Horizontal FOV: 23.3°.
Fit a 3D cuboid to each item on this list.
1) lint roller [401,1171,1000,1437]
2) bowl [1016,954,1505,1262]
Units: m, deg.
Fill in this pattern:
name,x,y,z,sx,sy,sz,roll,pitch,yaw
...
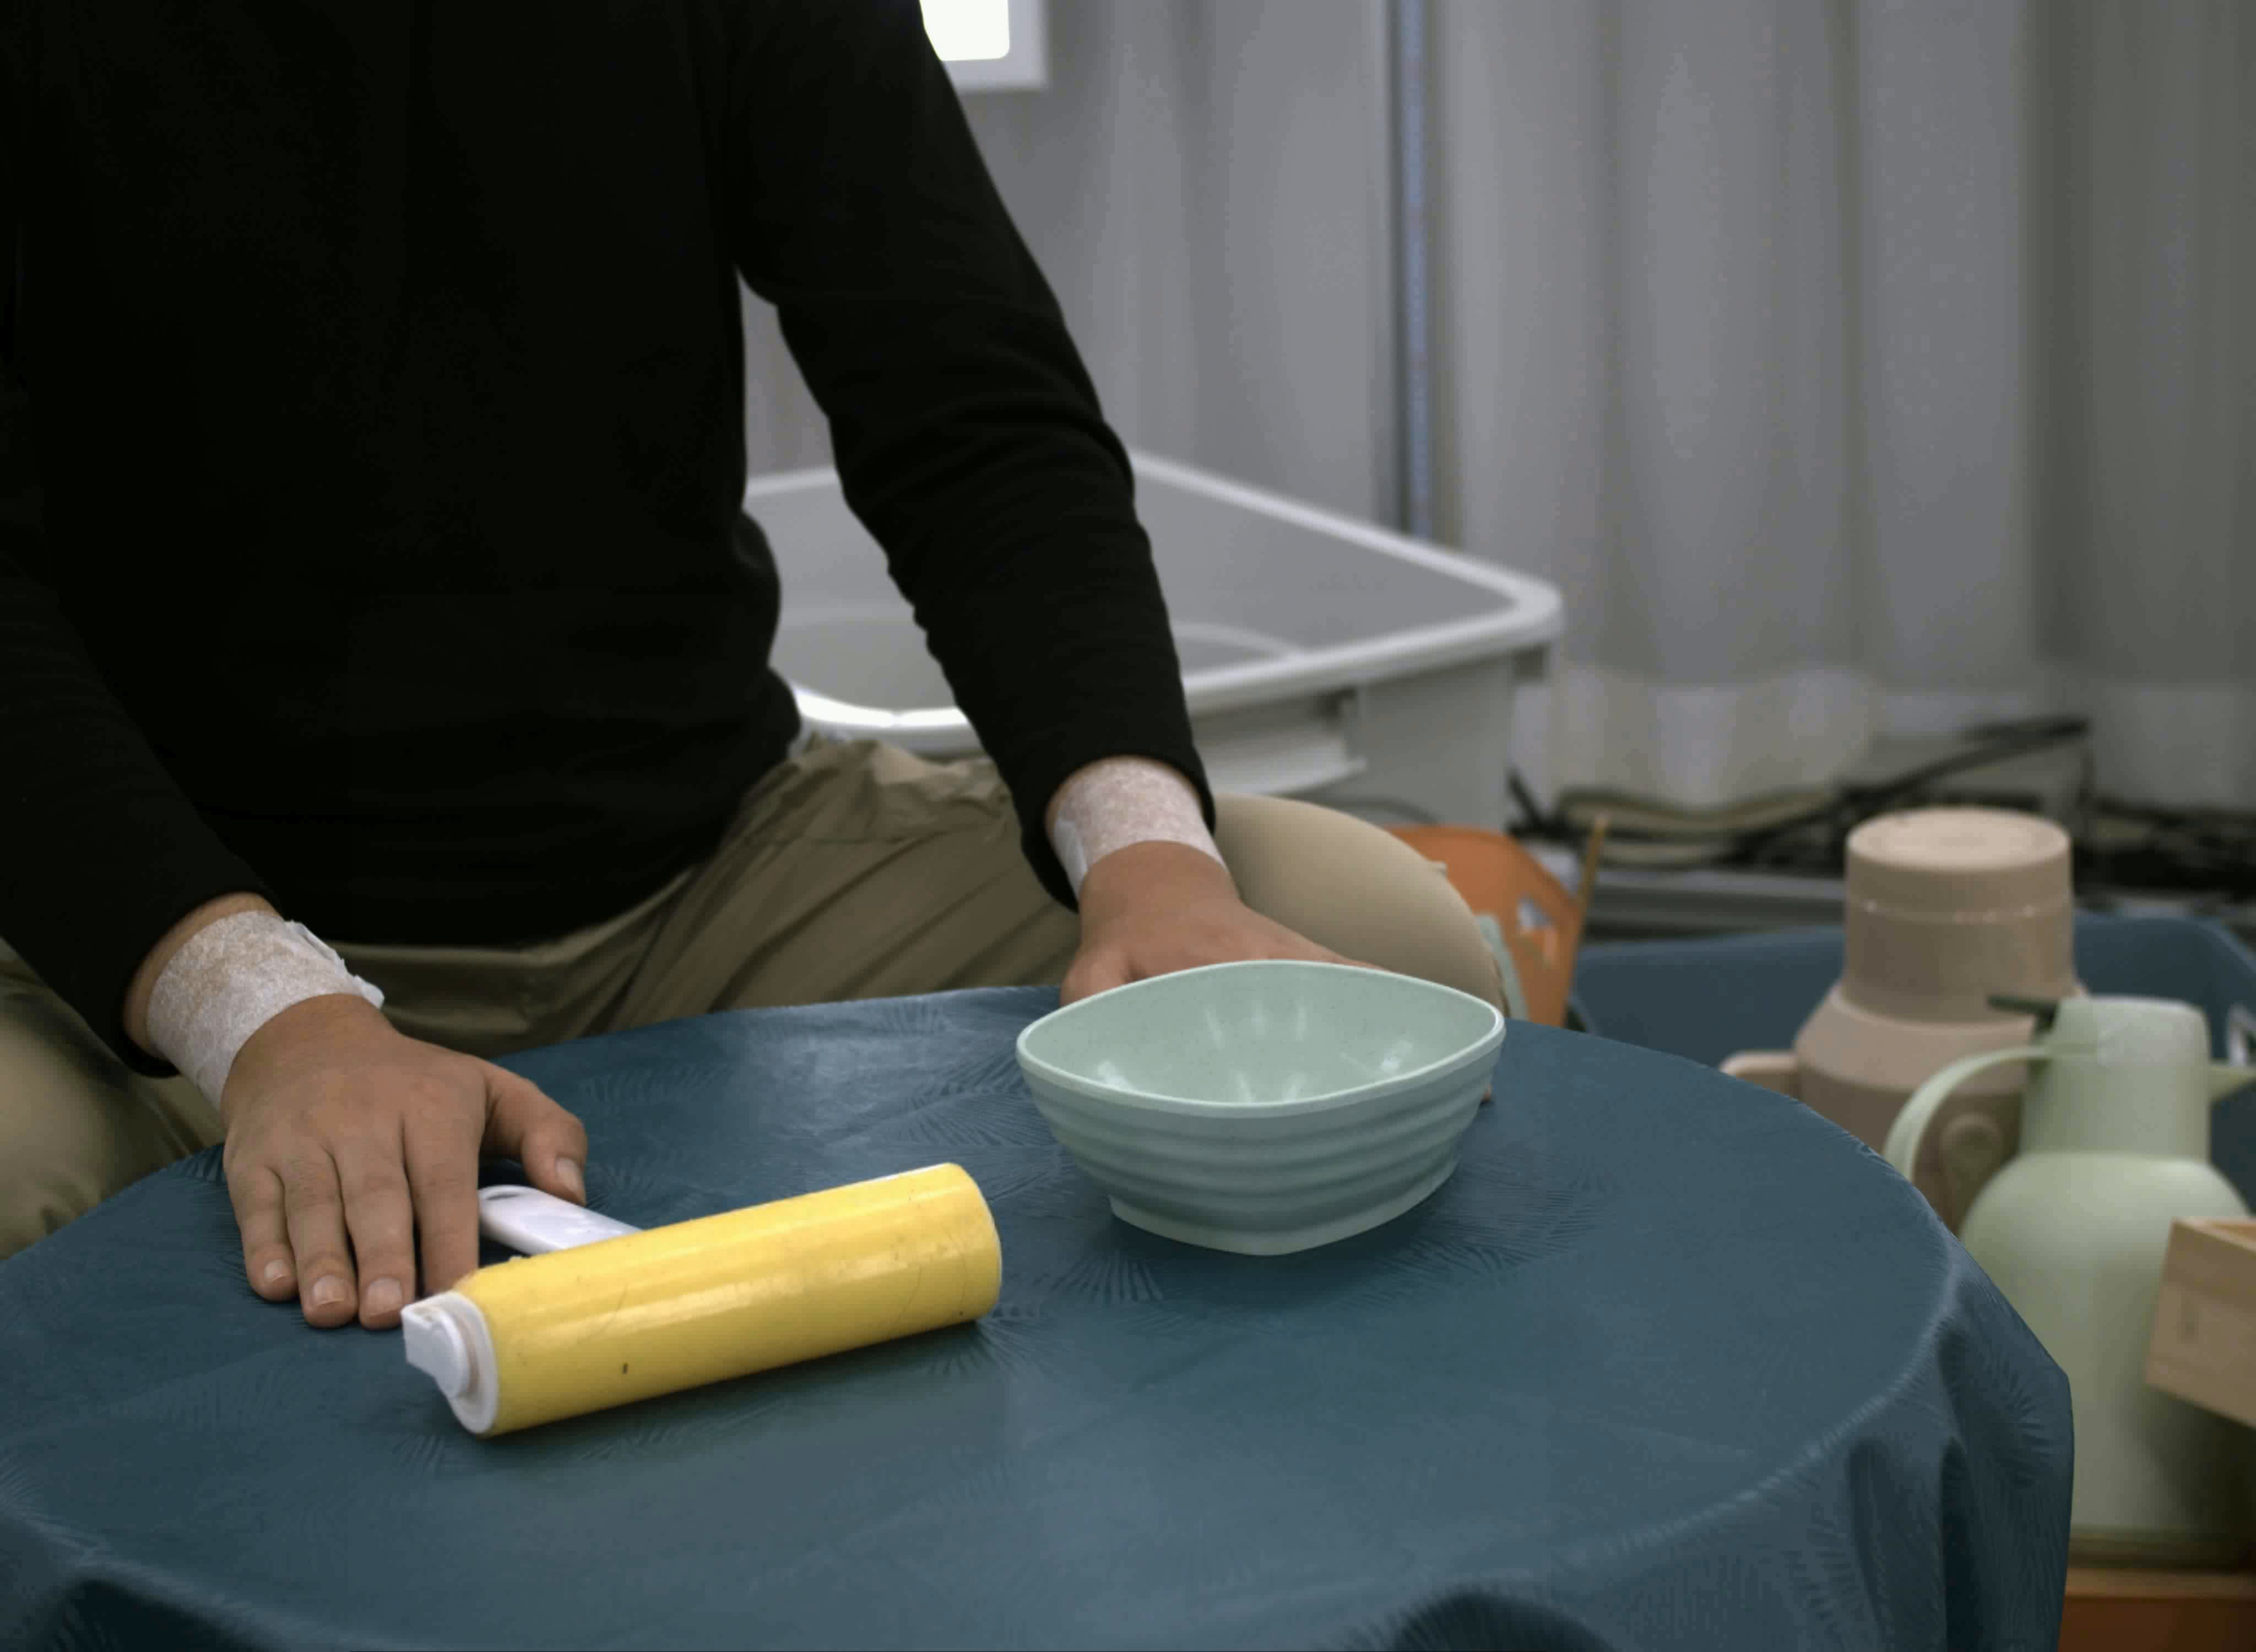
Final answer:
name,x,y,z,sx,sy,sz,roll,pitch,yaw
lint roller,-0.155,0.119,1.626,0.173,0.051,0.194,-11,21,-30
bowl,0.042,0.090,1.689,0.151,0.058,0.152,-2,16,0
